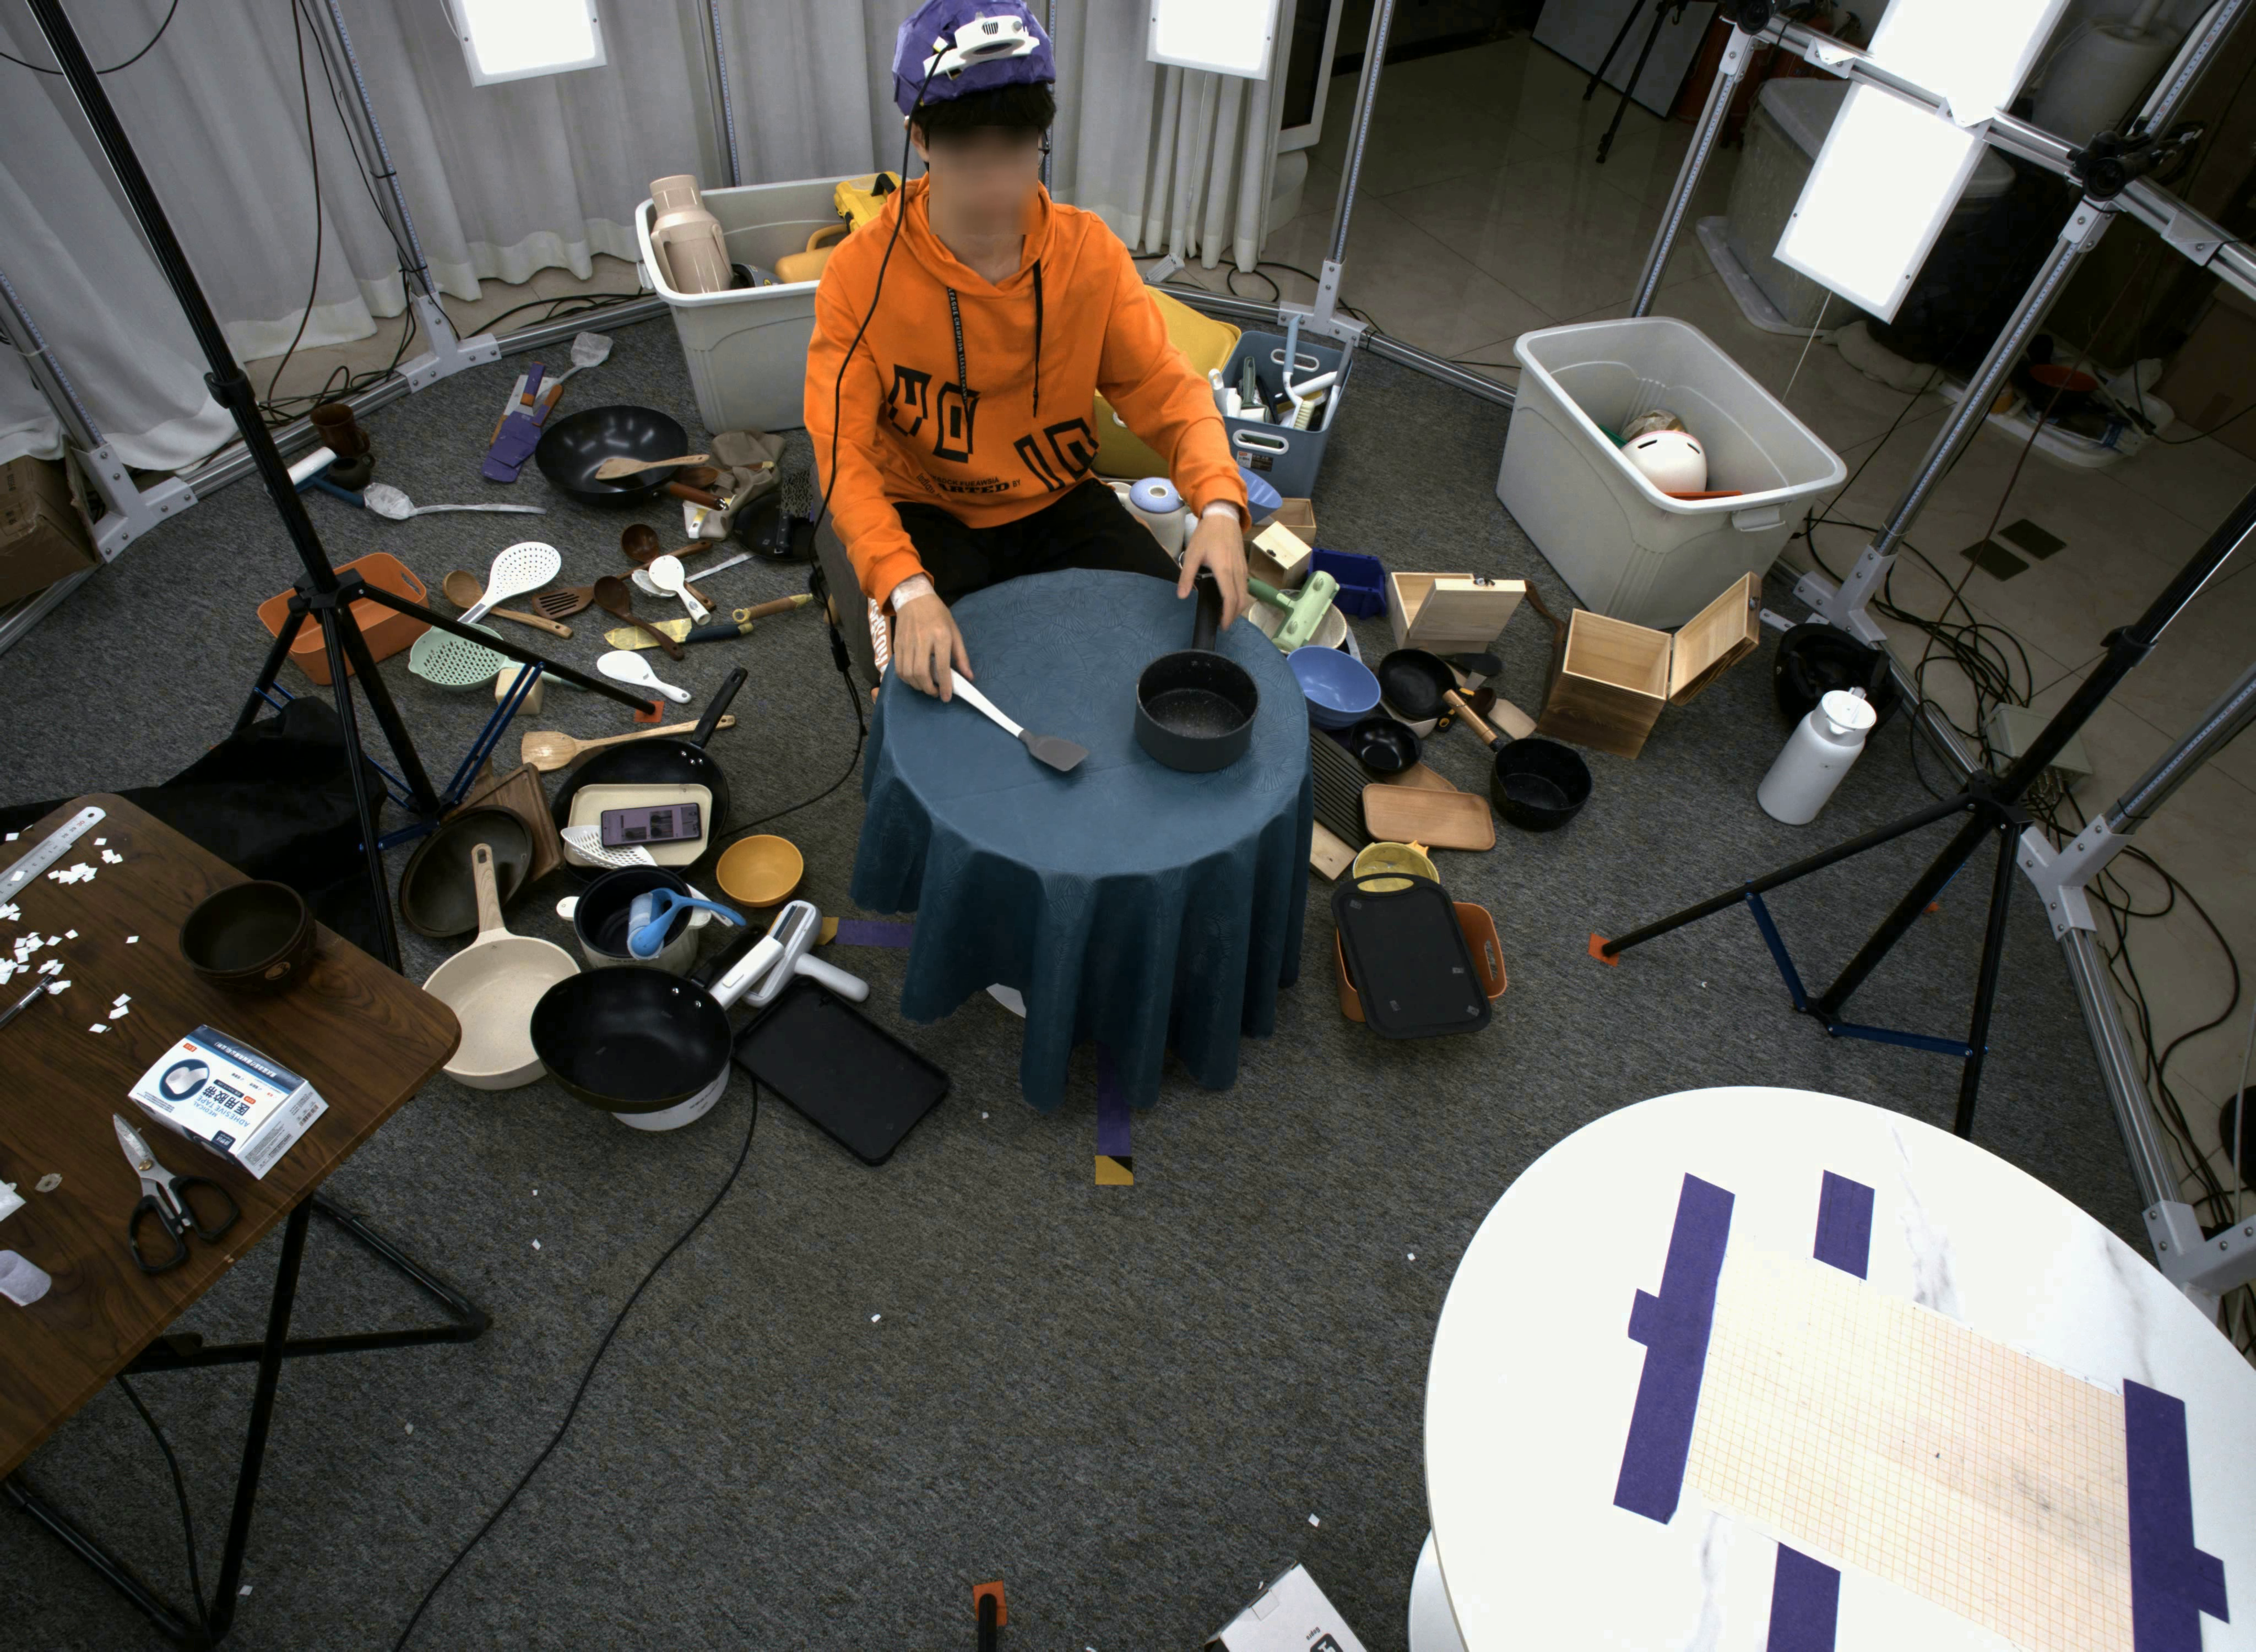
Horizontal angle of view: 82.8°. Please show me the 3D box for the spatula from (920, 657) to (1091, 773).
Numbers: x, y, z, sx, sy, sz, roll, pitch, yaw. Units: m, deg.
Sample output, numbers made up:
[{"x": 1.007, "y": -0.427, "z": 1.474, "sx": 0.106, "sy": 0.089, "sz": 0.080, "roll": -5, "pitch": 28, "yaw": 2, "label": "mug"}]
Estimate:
[{"x": -0.173, "y": -0.152, "z": 1.768, "sx": 0.291, "sy": 0.031, "sz": 0.059, "roll": 34, "pitch": 51, "yaw": 24, "label": "spatula"}]

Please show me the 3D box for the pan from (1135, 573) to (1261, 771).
[{"x": 0.105, "y": -0.221, "z": 1.812, "sx": 0.172, "sy": 0.084, "sz": 0.336, "roll": 10, "pitch": 51, "yaw": 3, "label": "pan"}]
